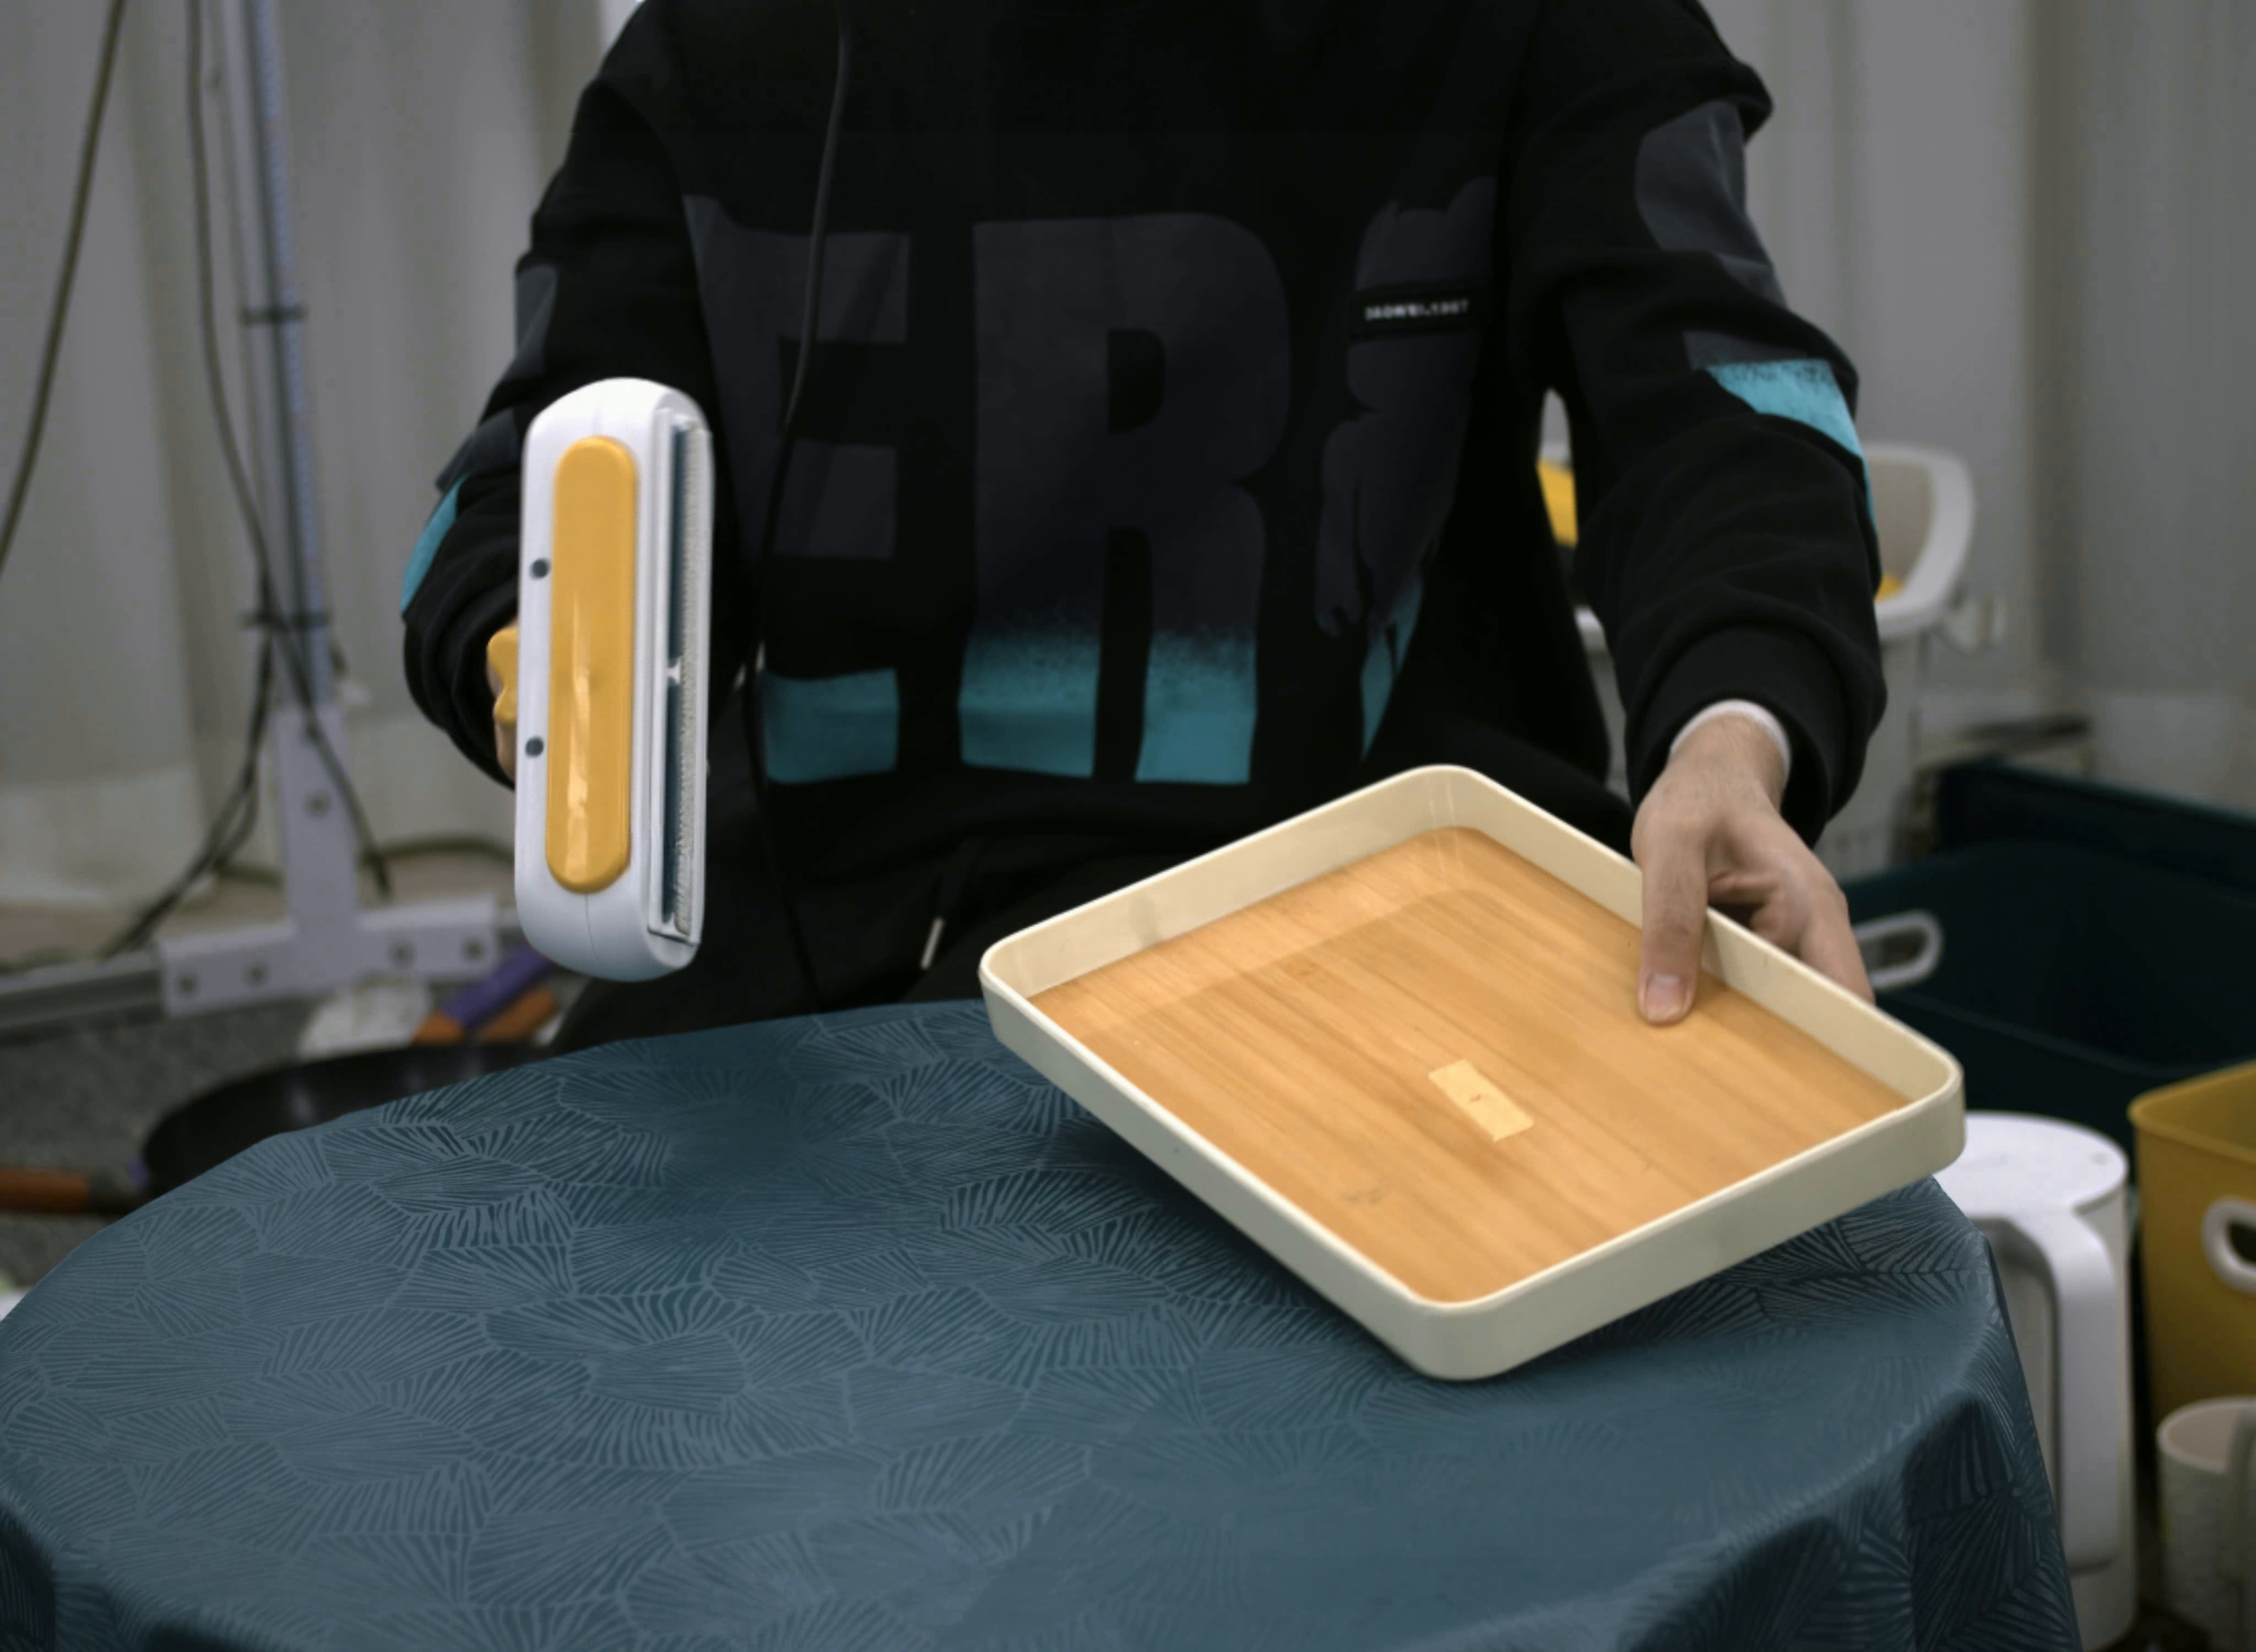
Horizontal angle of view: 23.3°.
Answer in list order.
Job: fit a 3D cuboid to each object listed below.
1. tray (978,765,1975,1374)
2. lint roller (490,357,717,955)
[{"bbox_3d":[0.100,0.068,1.677,0.191,0.027,0.303,-22,28,-22],"label":"tray"},{"bbox_3d":[-0.164,-0.042,1.814,0.074,0.194,0.191,-4,-13,6],"label":"lint roller"}]
